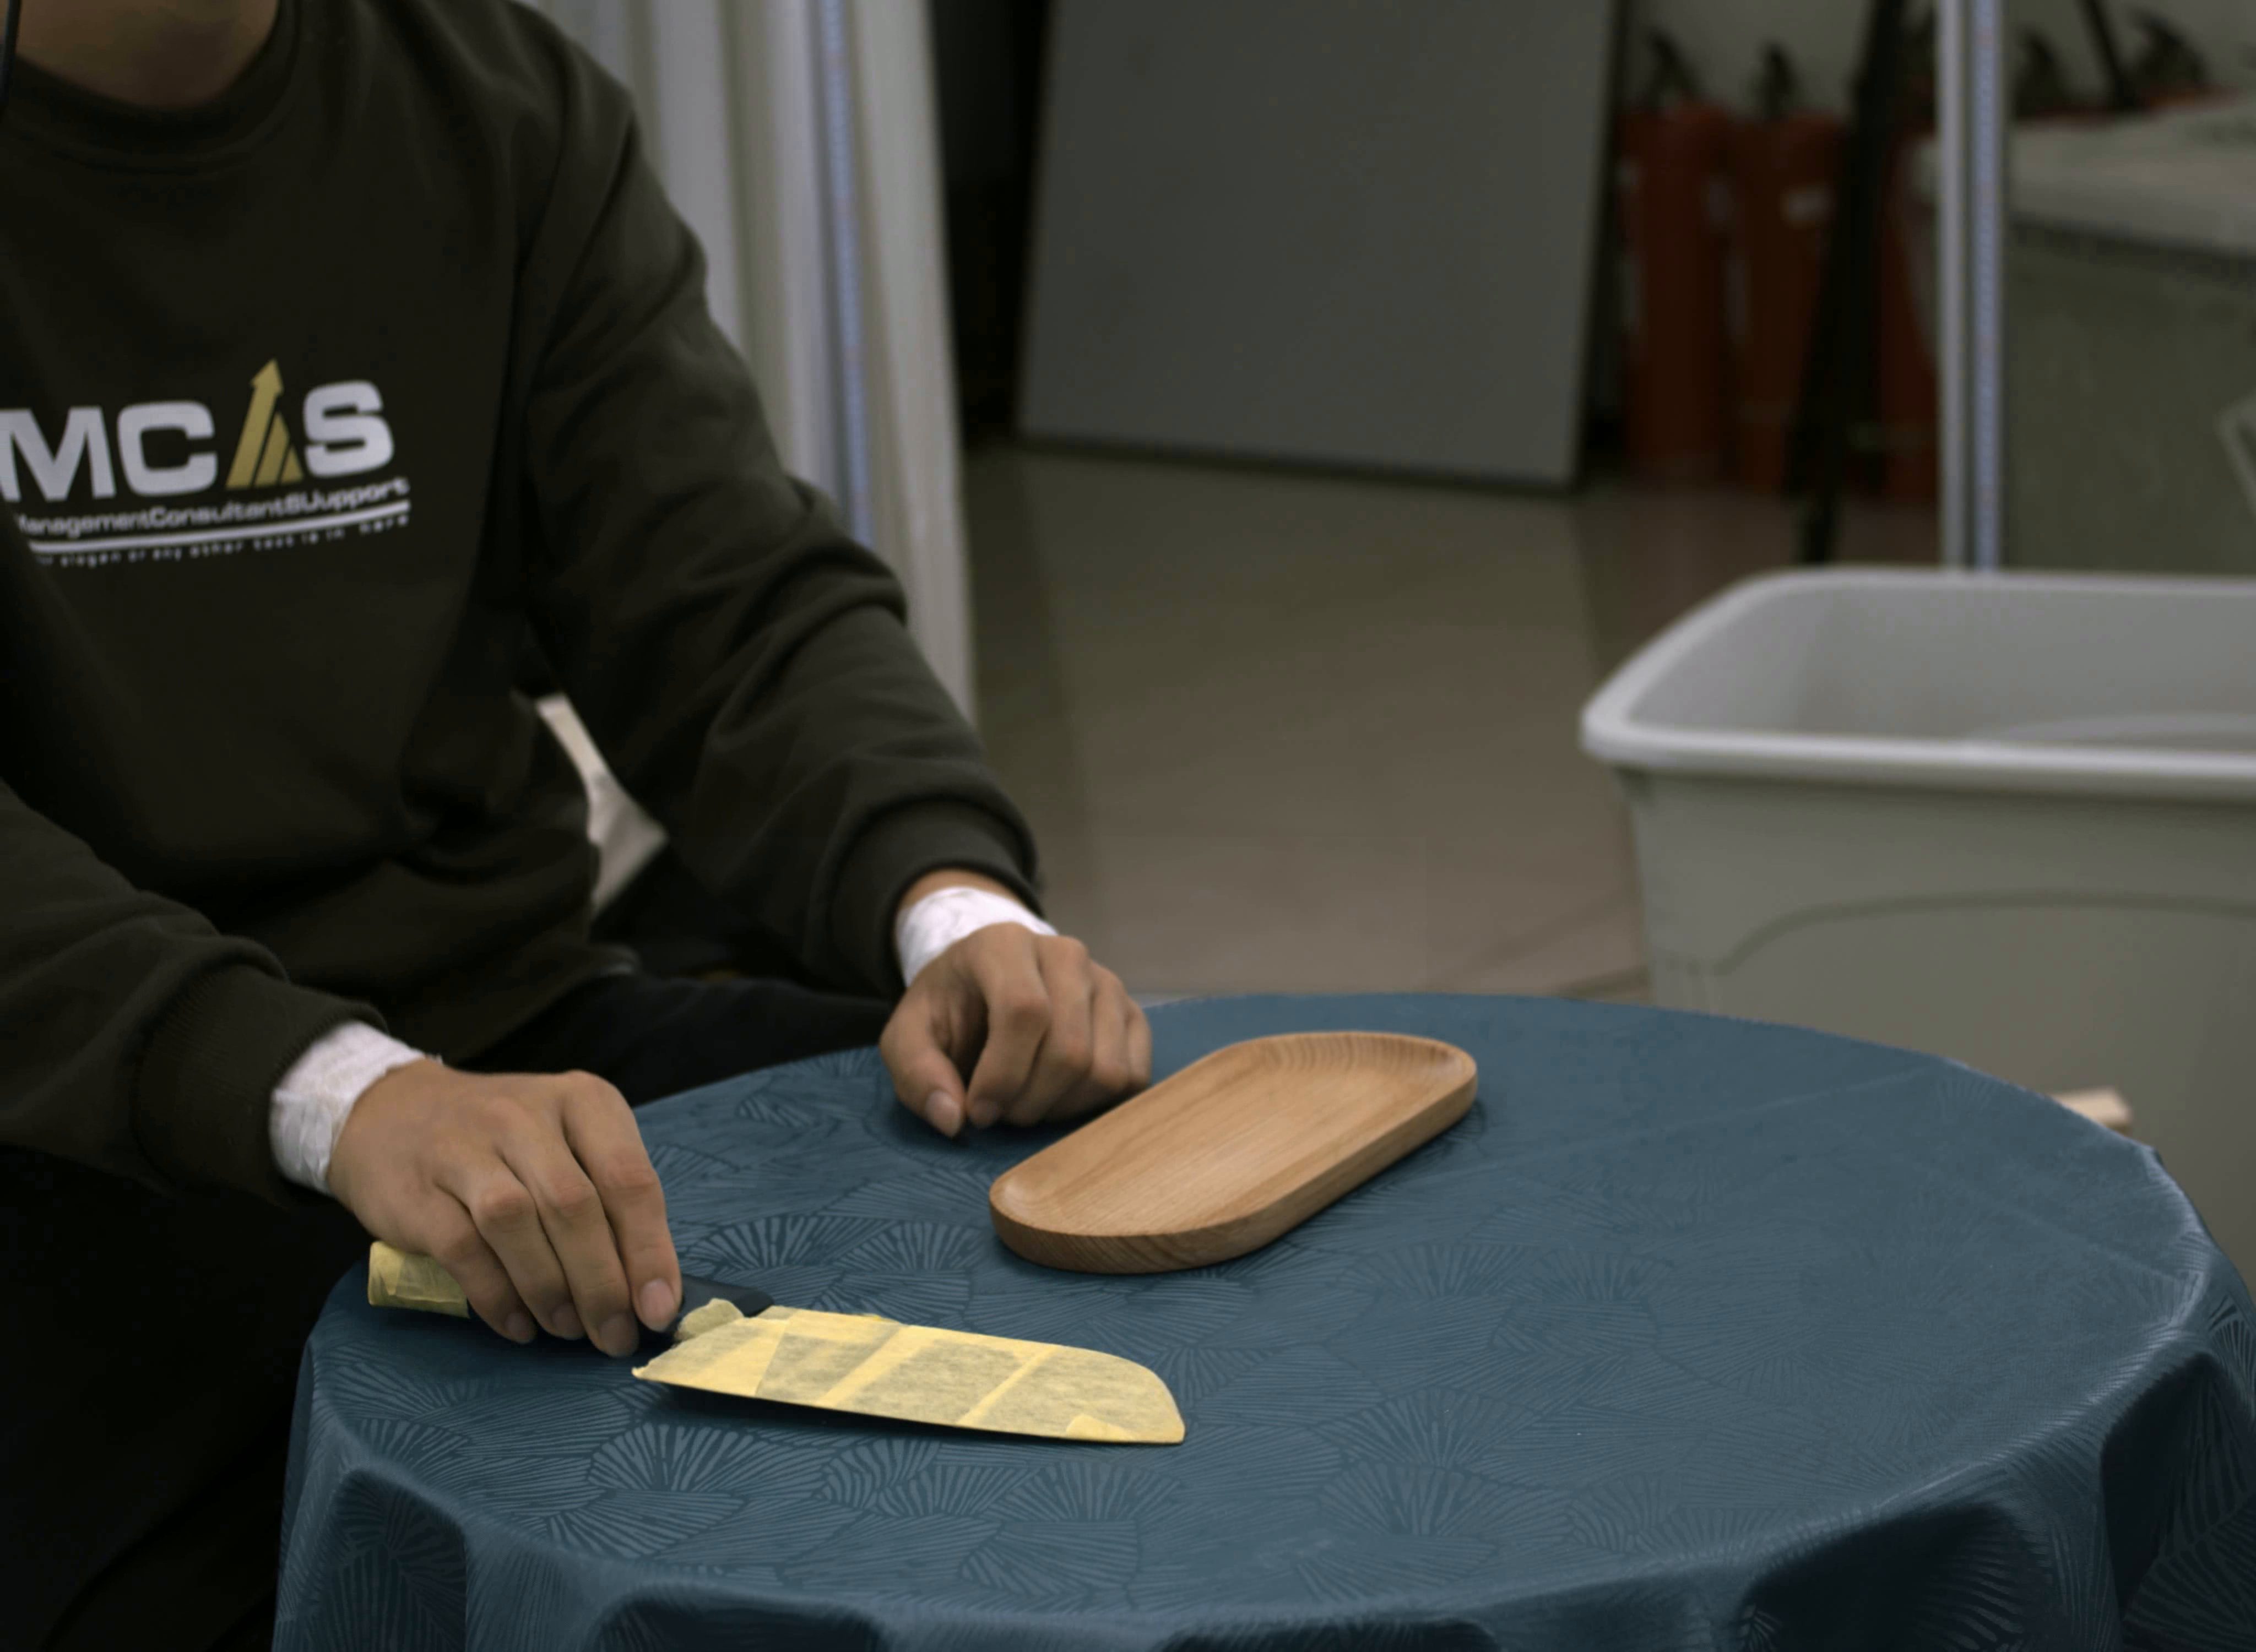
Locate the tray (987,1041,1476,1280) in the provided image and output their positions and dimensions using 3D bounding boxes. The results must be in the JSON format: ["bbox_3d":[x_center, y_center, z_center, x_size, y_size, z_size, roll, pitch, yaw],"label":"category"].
[{"bbox_3d":[0.037,0.109,1.782,0.102,0.020,0.228,2,16,30],"label":"tray"}]

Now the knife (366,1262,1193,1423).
[{"bbox_3d":[-0.111,0.158,1.619,0.290,0.027,0.080,4,11,26],"label":"knife"}]
